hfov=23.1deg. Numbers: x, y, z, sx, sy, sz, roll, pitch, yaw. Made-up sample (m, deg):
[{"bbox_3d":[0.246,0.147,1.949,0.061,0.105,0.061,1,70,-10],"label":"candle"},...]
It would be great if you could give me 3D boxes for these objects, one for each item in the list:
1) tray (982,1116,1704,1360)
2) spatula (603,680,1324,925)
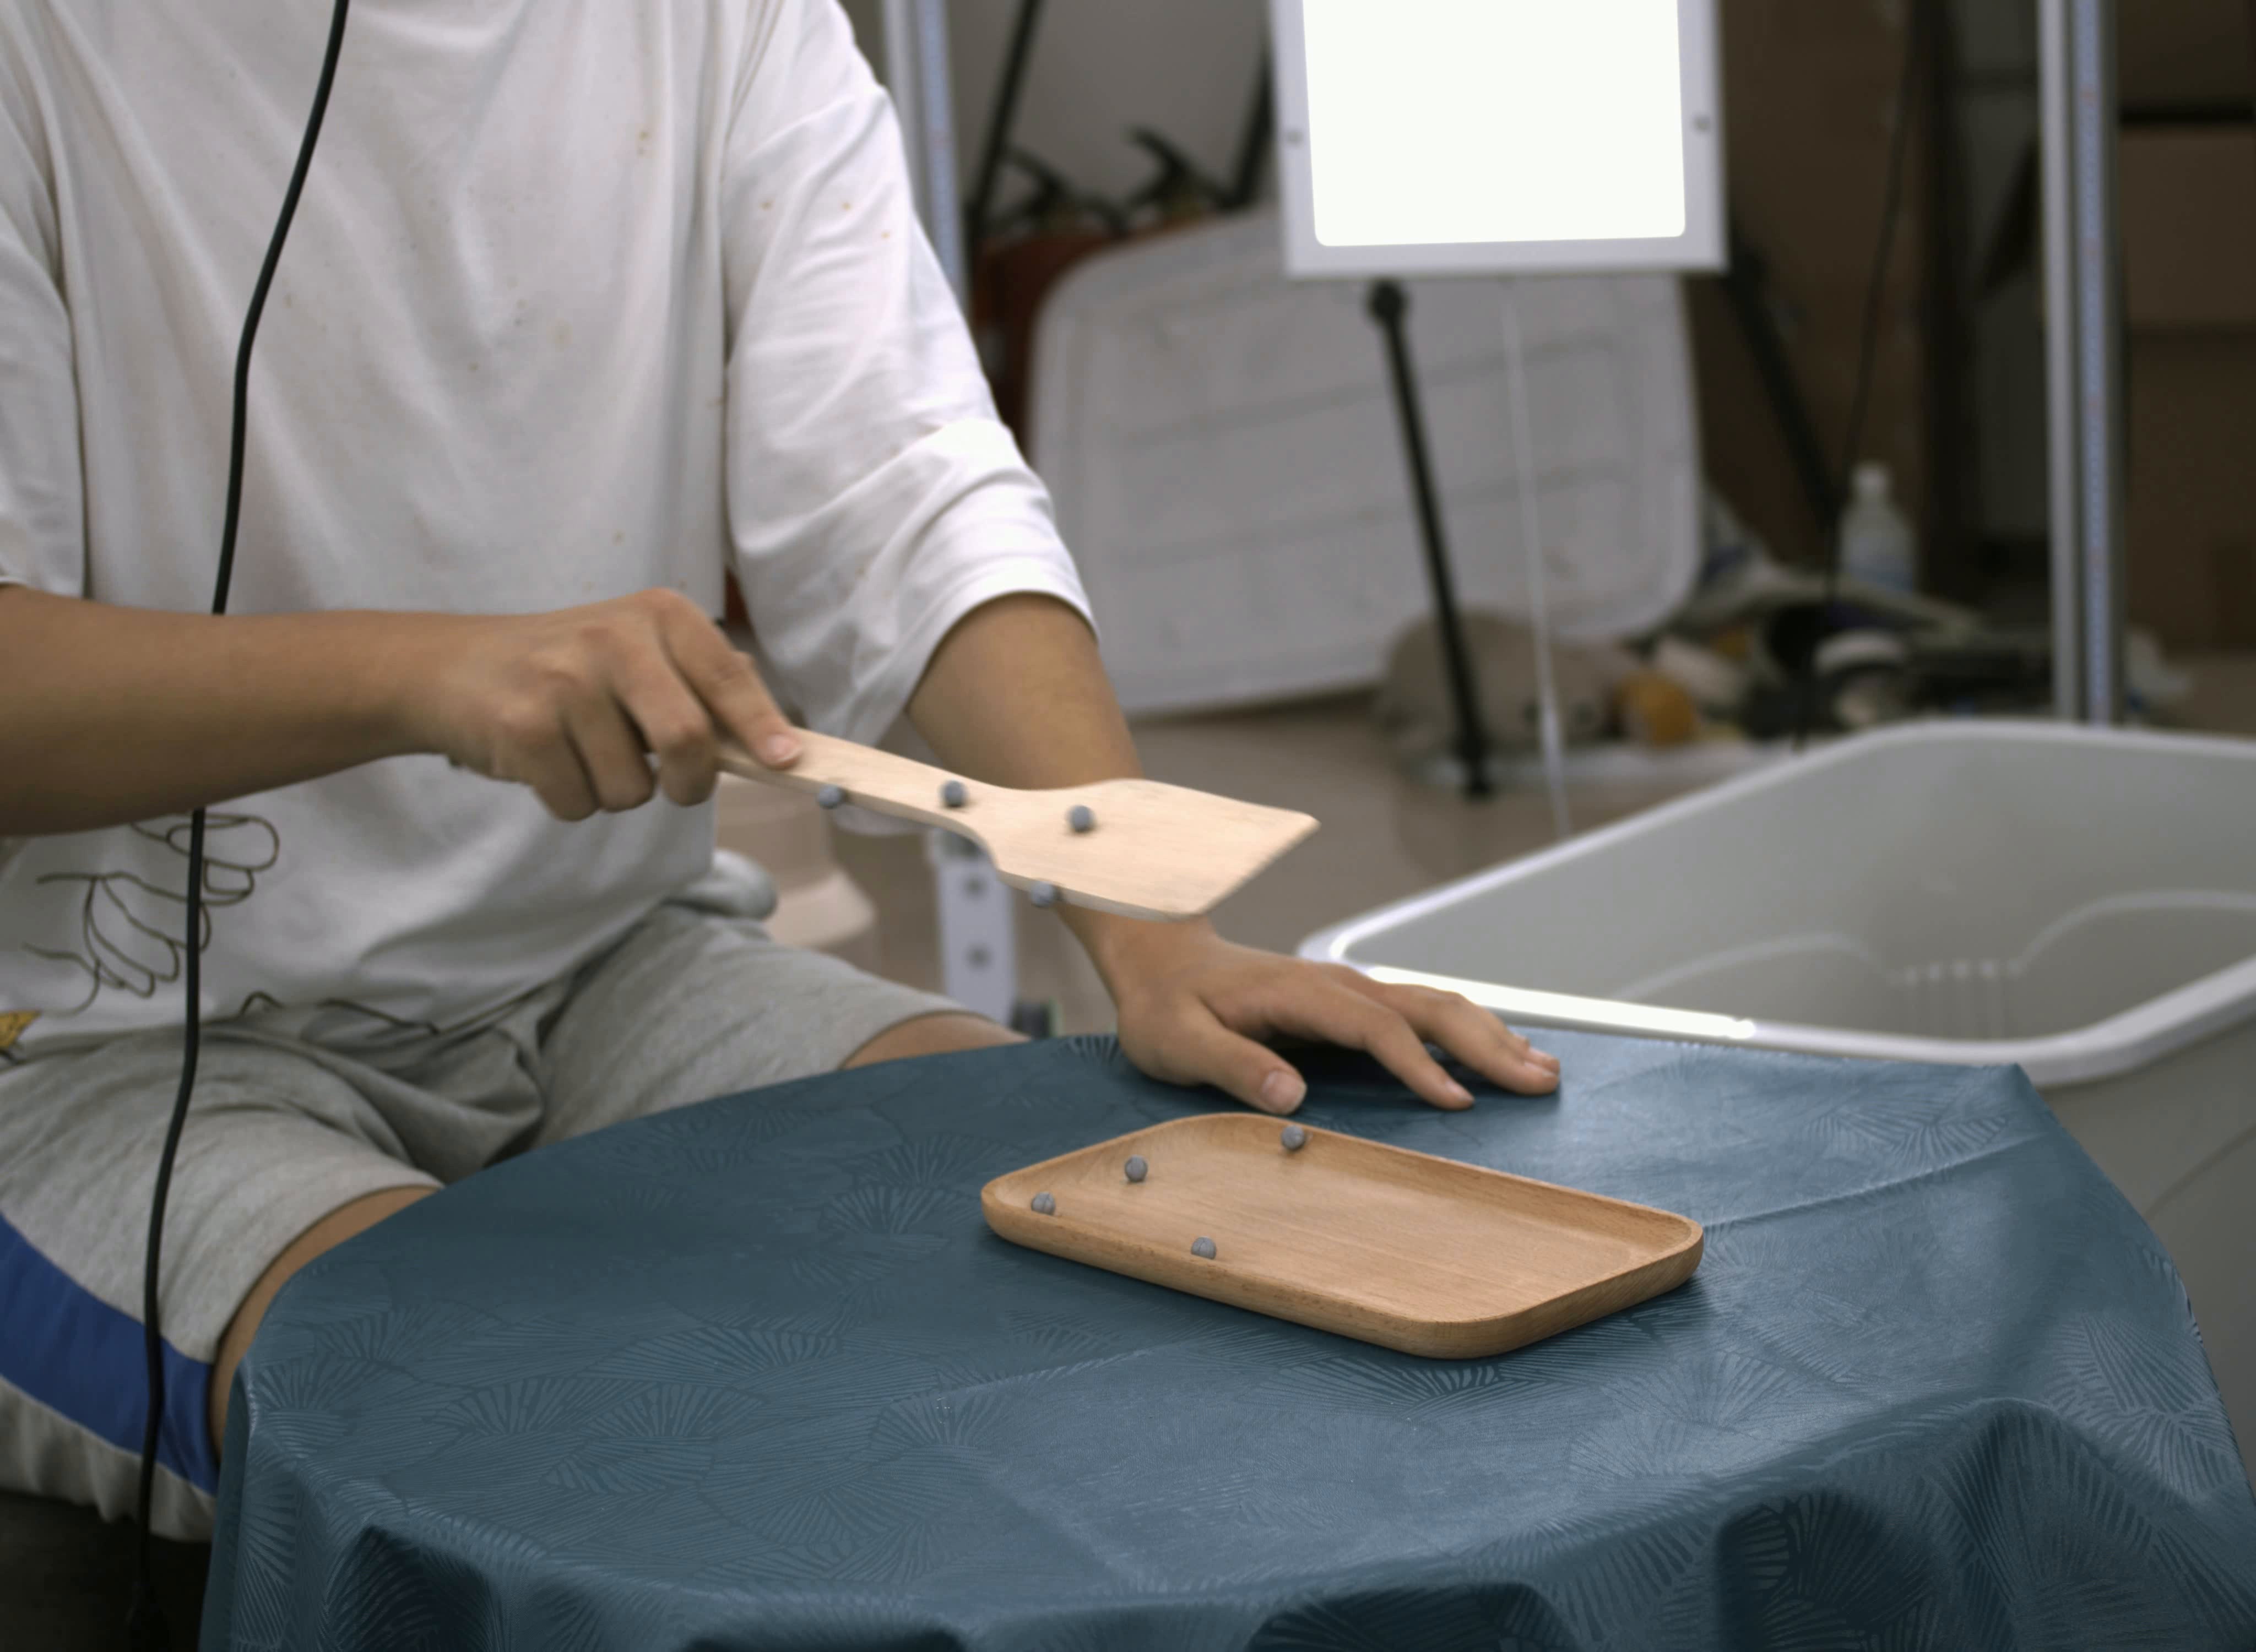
[{"bbox_3d":[0.068,0.133,1.811,0.127,0.023,0.256,-18,19,-36],"label":"tray"},{"bbox_3d":[-0.068,-0.013,1.846,0.299,0.011,0.070,15,37,39],"label":"spatula"}]
